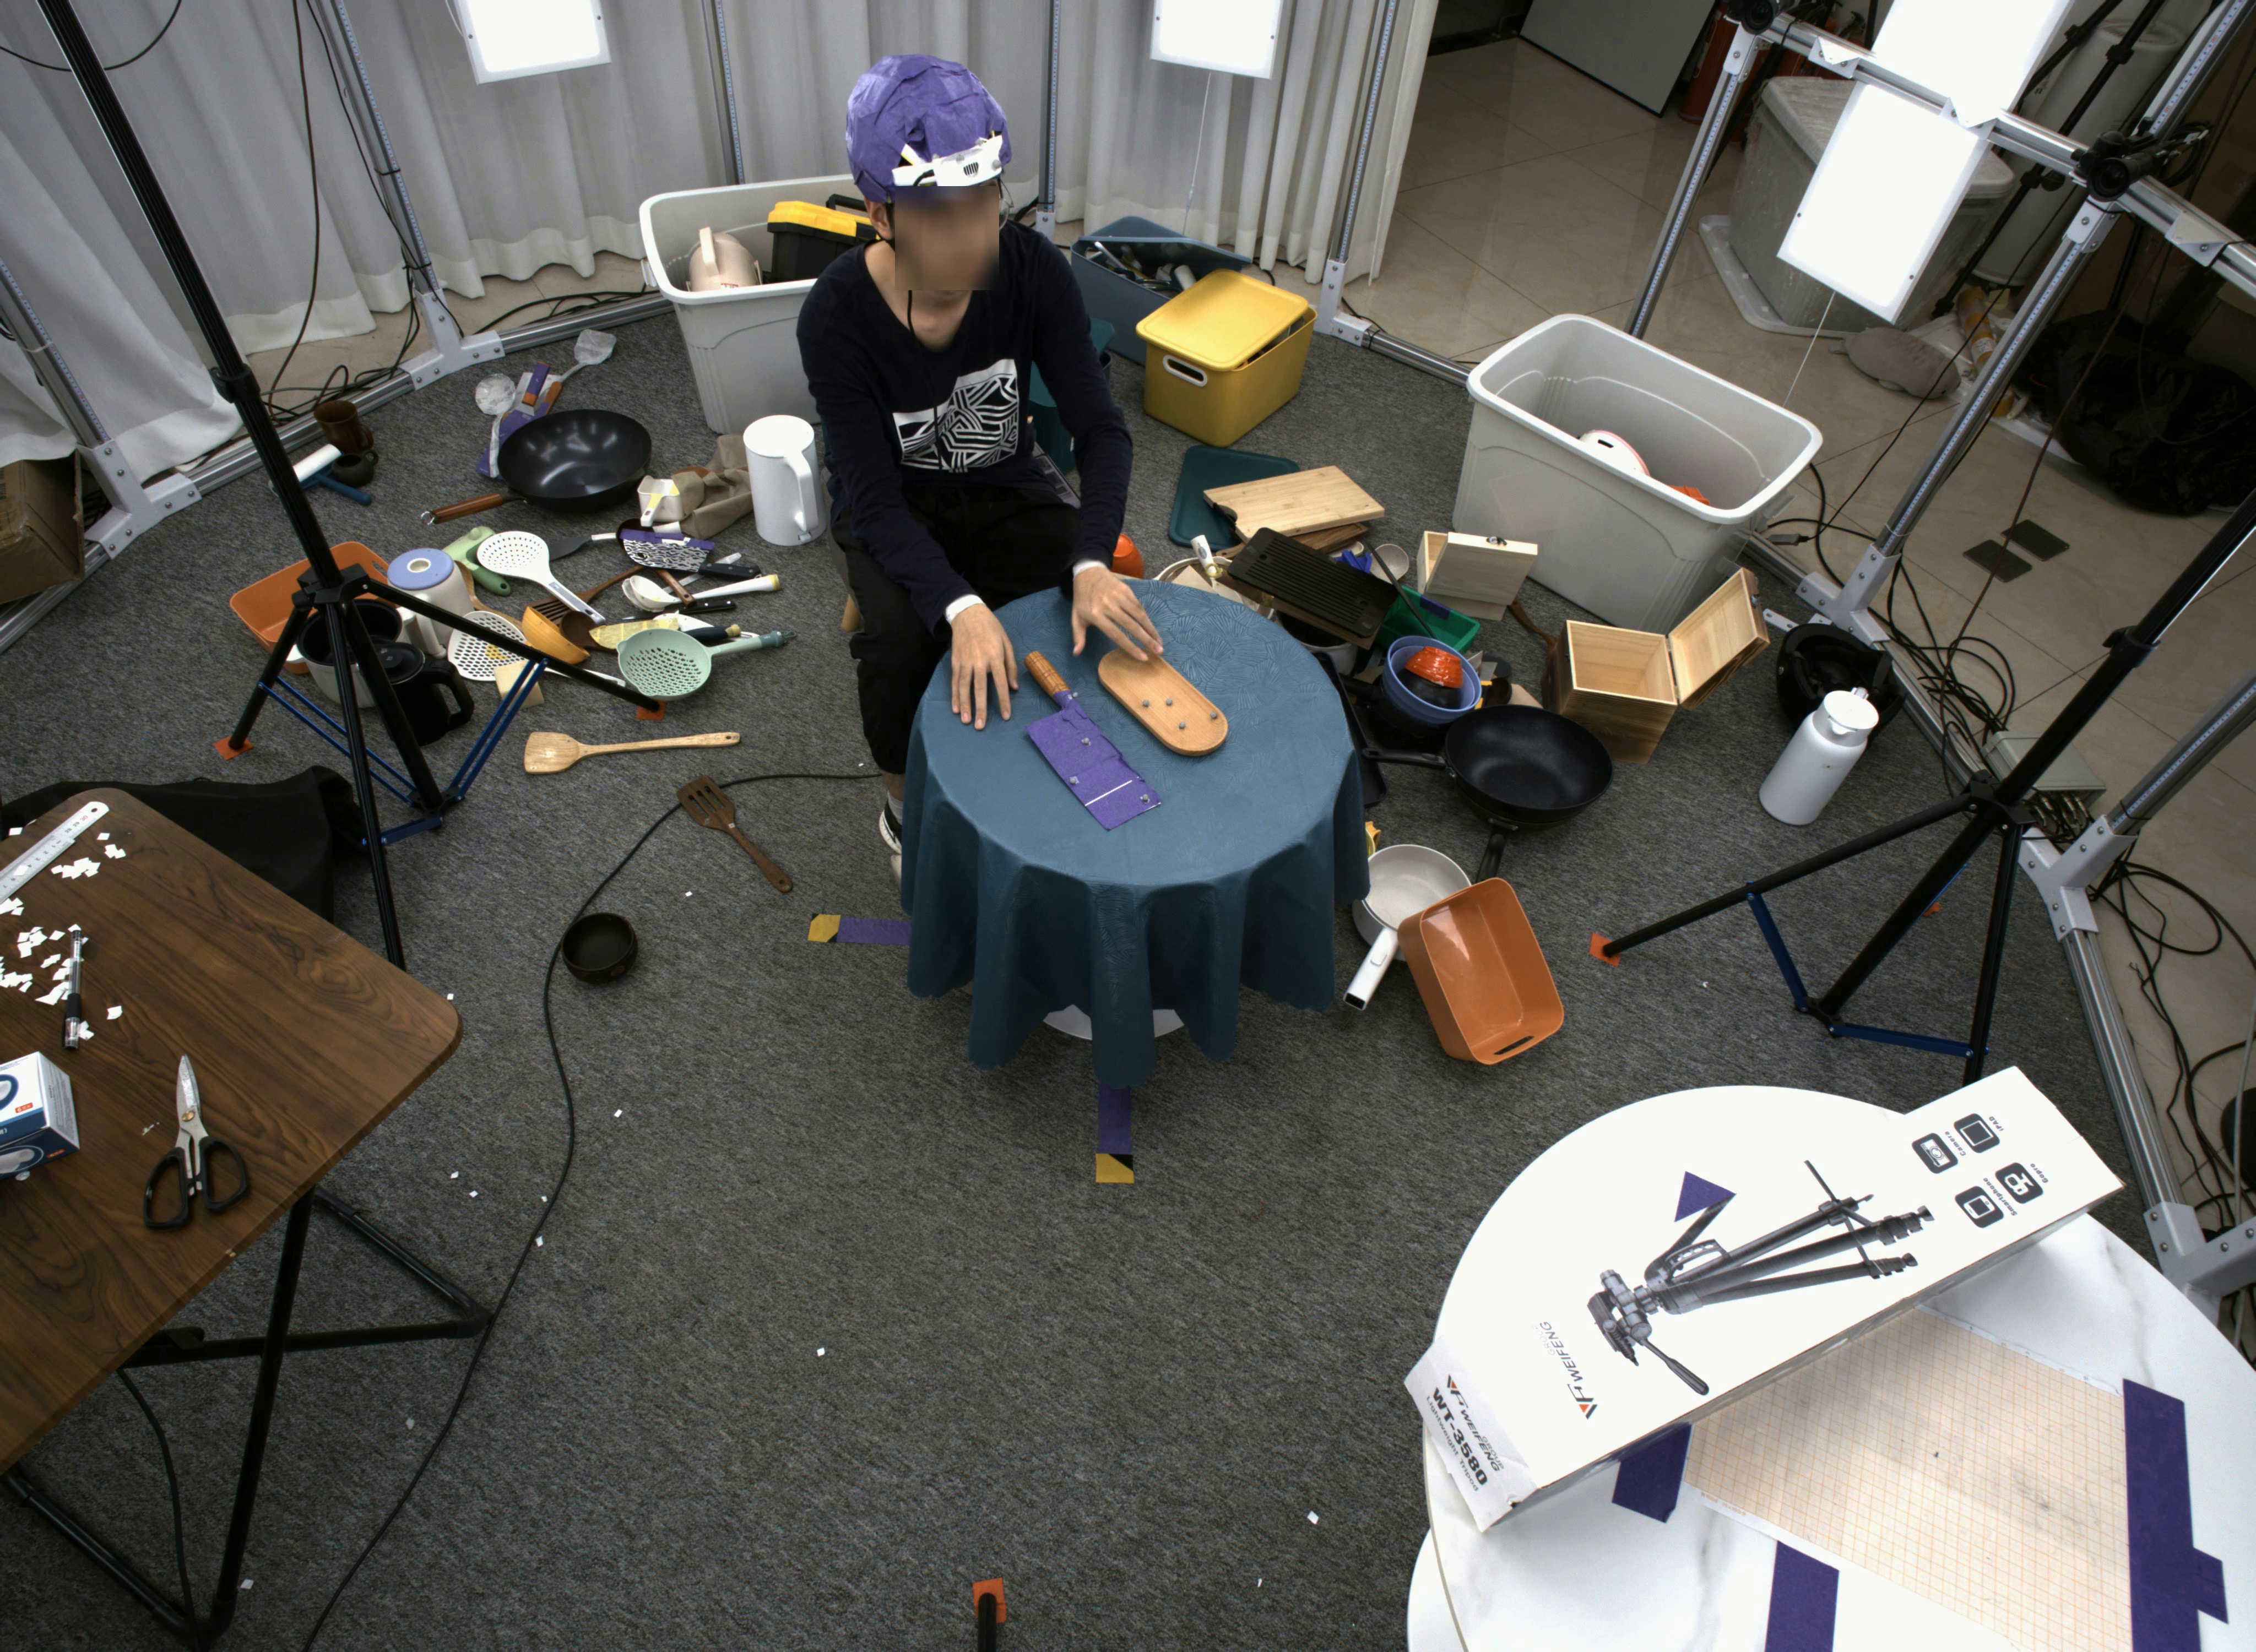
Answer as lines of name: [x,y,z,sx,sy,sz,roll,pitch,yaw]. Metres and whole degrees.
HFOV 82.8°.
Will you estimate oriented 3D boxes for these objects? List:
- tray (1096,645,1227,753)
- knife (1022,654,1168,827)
tray: [0.045,-0.181,1.817,0.102,0.020,0.235,-29,55,-26]
knife: [-0.076,-0.121,1.750,0.104,0.031,0.321,-26,56,-24]
